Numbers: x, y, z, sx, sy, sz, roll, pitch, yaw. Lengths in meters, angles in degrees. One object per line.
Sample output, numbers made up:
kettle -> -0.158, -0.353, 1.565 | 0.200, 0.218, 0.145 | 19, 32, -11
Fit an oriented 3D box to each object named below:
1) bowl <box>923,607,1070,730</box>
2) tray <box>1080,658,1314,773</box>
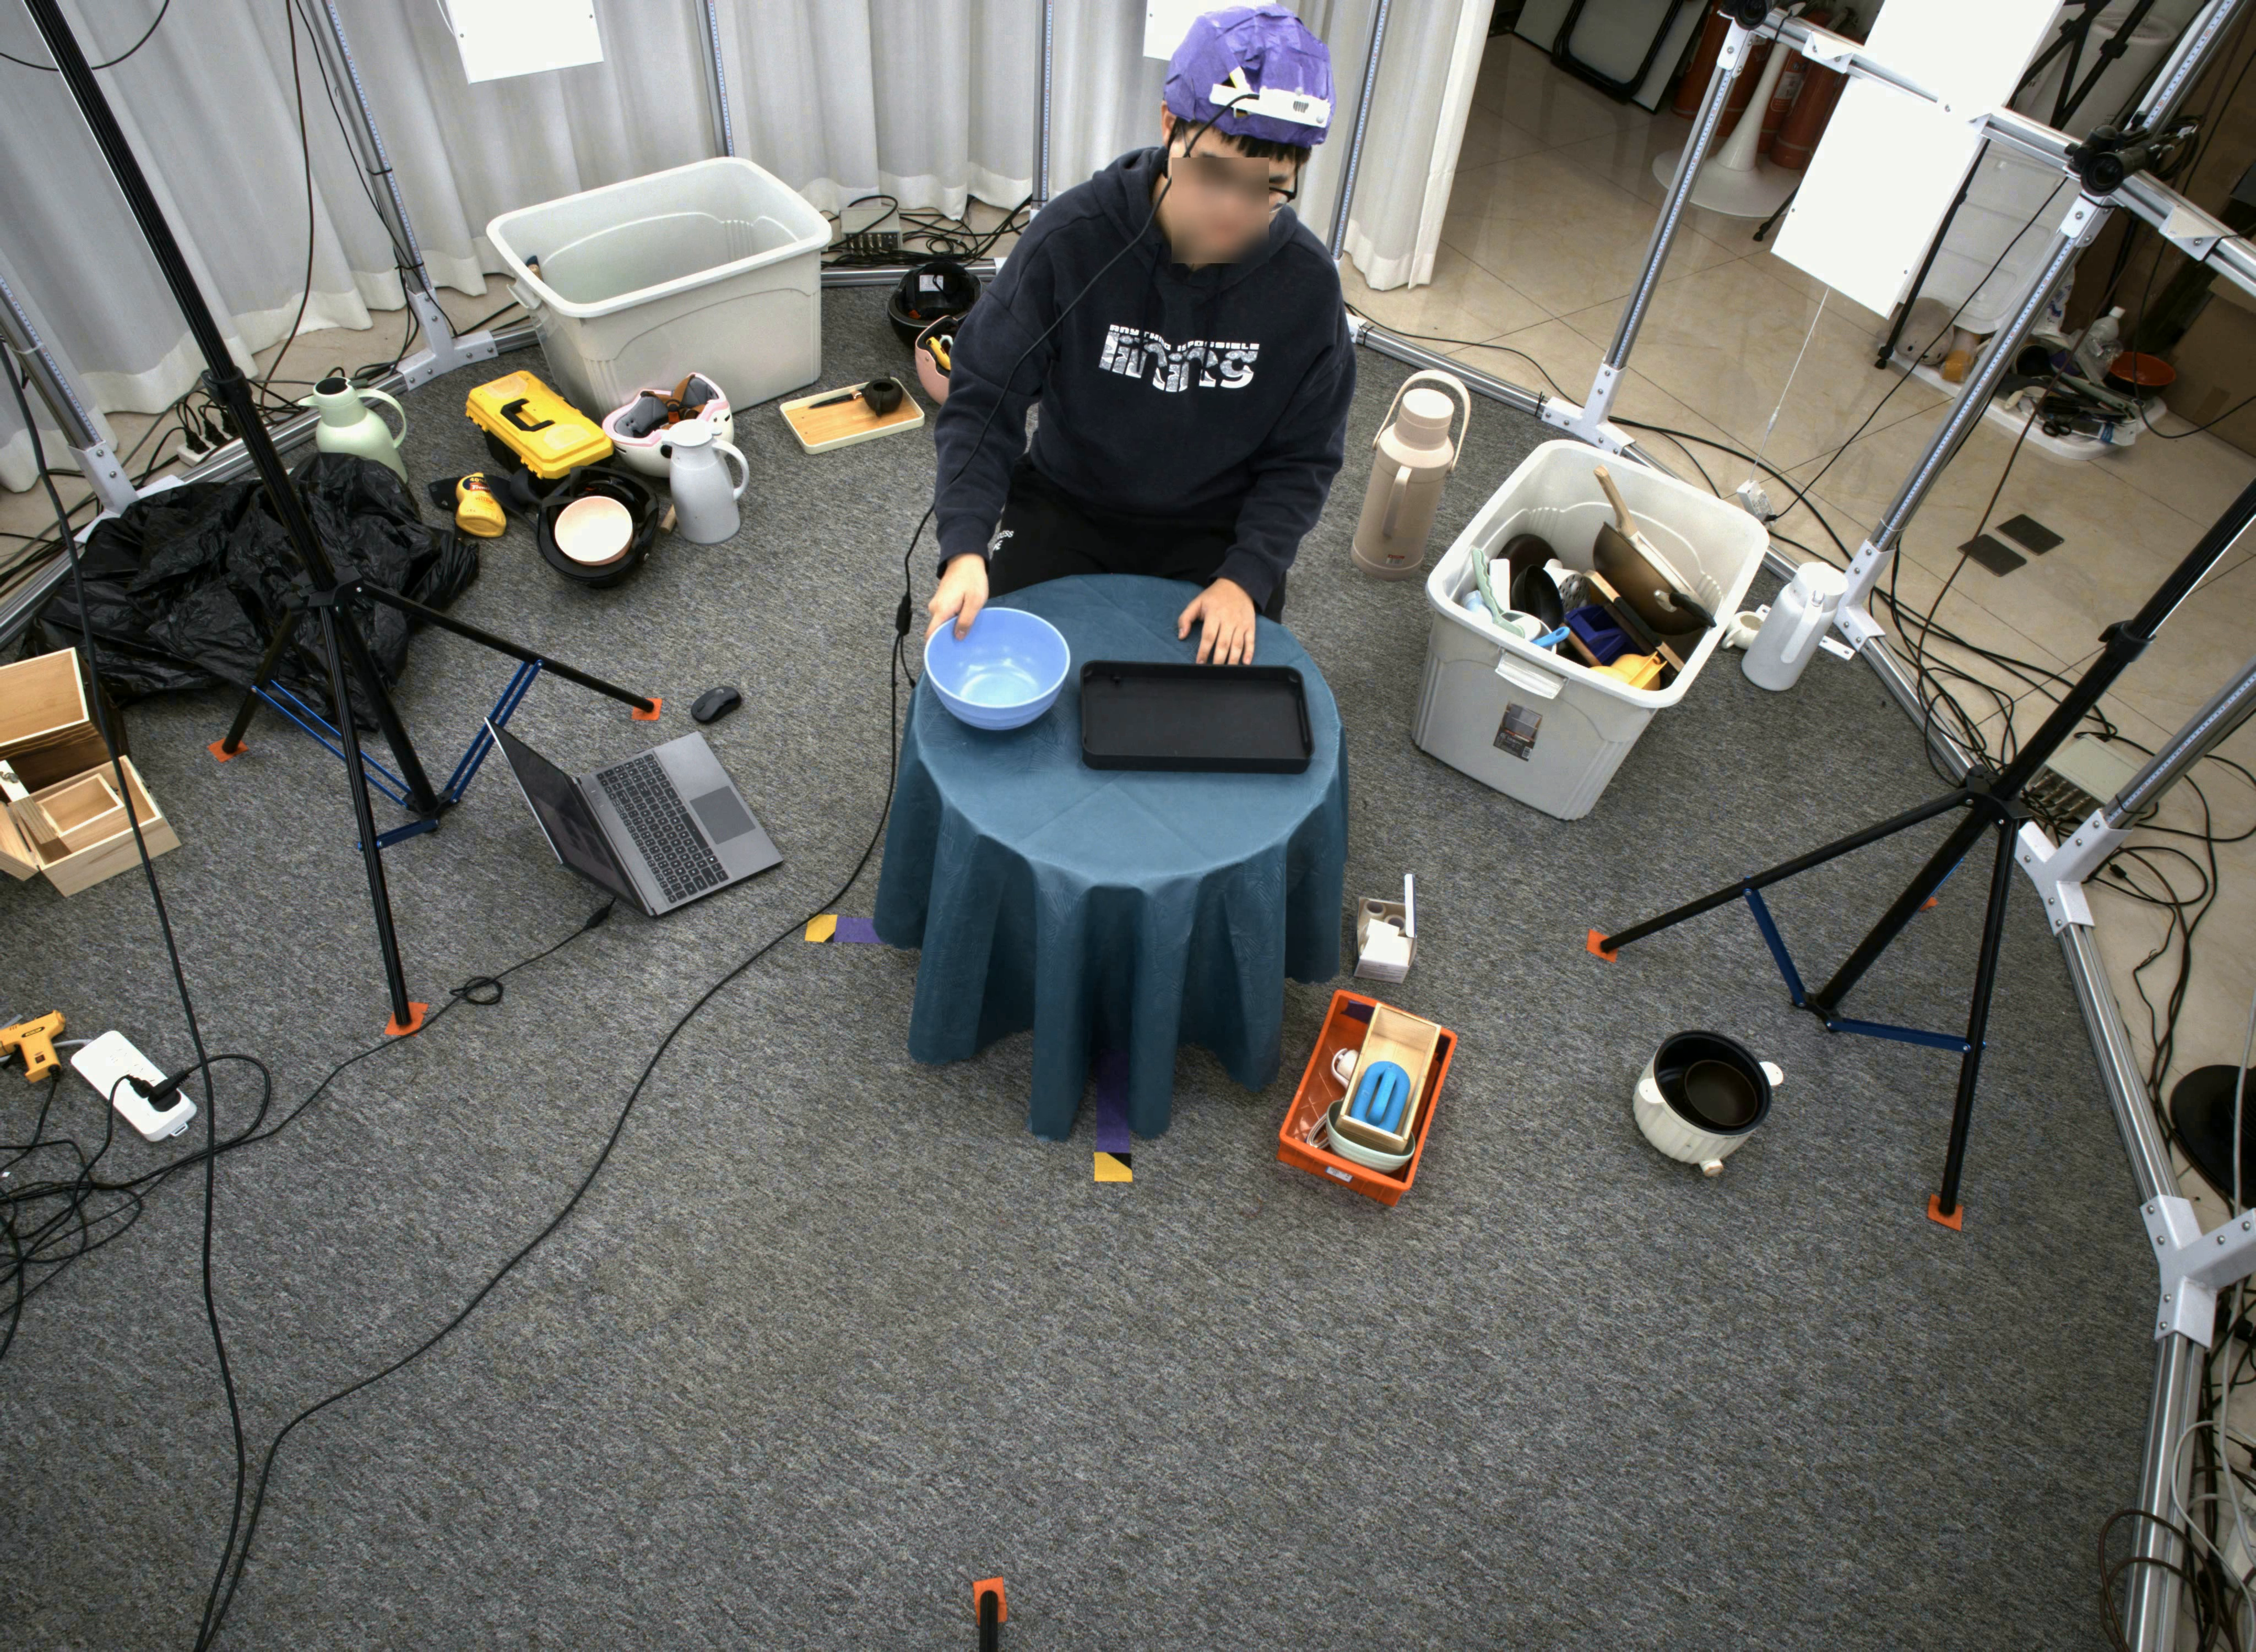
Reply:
bowl -> -0.179, -0.201, 1.764 | 0.196, 0.093, 0.201 | 1, 49, -2
tray -> 0.091, -0.154, 1.781 | 0.317, 0.036, 0.189 | 1, 49, -4
